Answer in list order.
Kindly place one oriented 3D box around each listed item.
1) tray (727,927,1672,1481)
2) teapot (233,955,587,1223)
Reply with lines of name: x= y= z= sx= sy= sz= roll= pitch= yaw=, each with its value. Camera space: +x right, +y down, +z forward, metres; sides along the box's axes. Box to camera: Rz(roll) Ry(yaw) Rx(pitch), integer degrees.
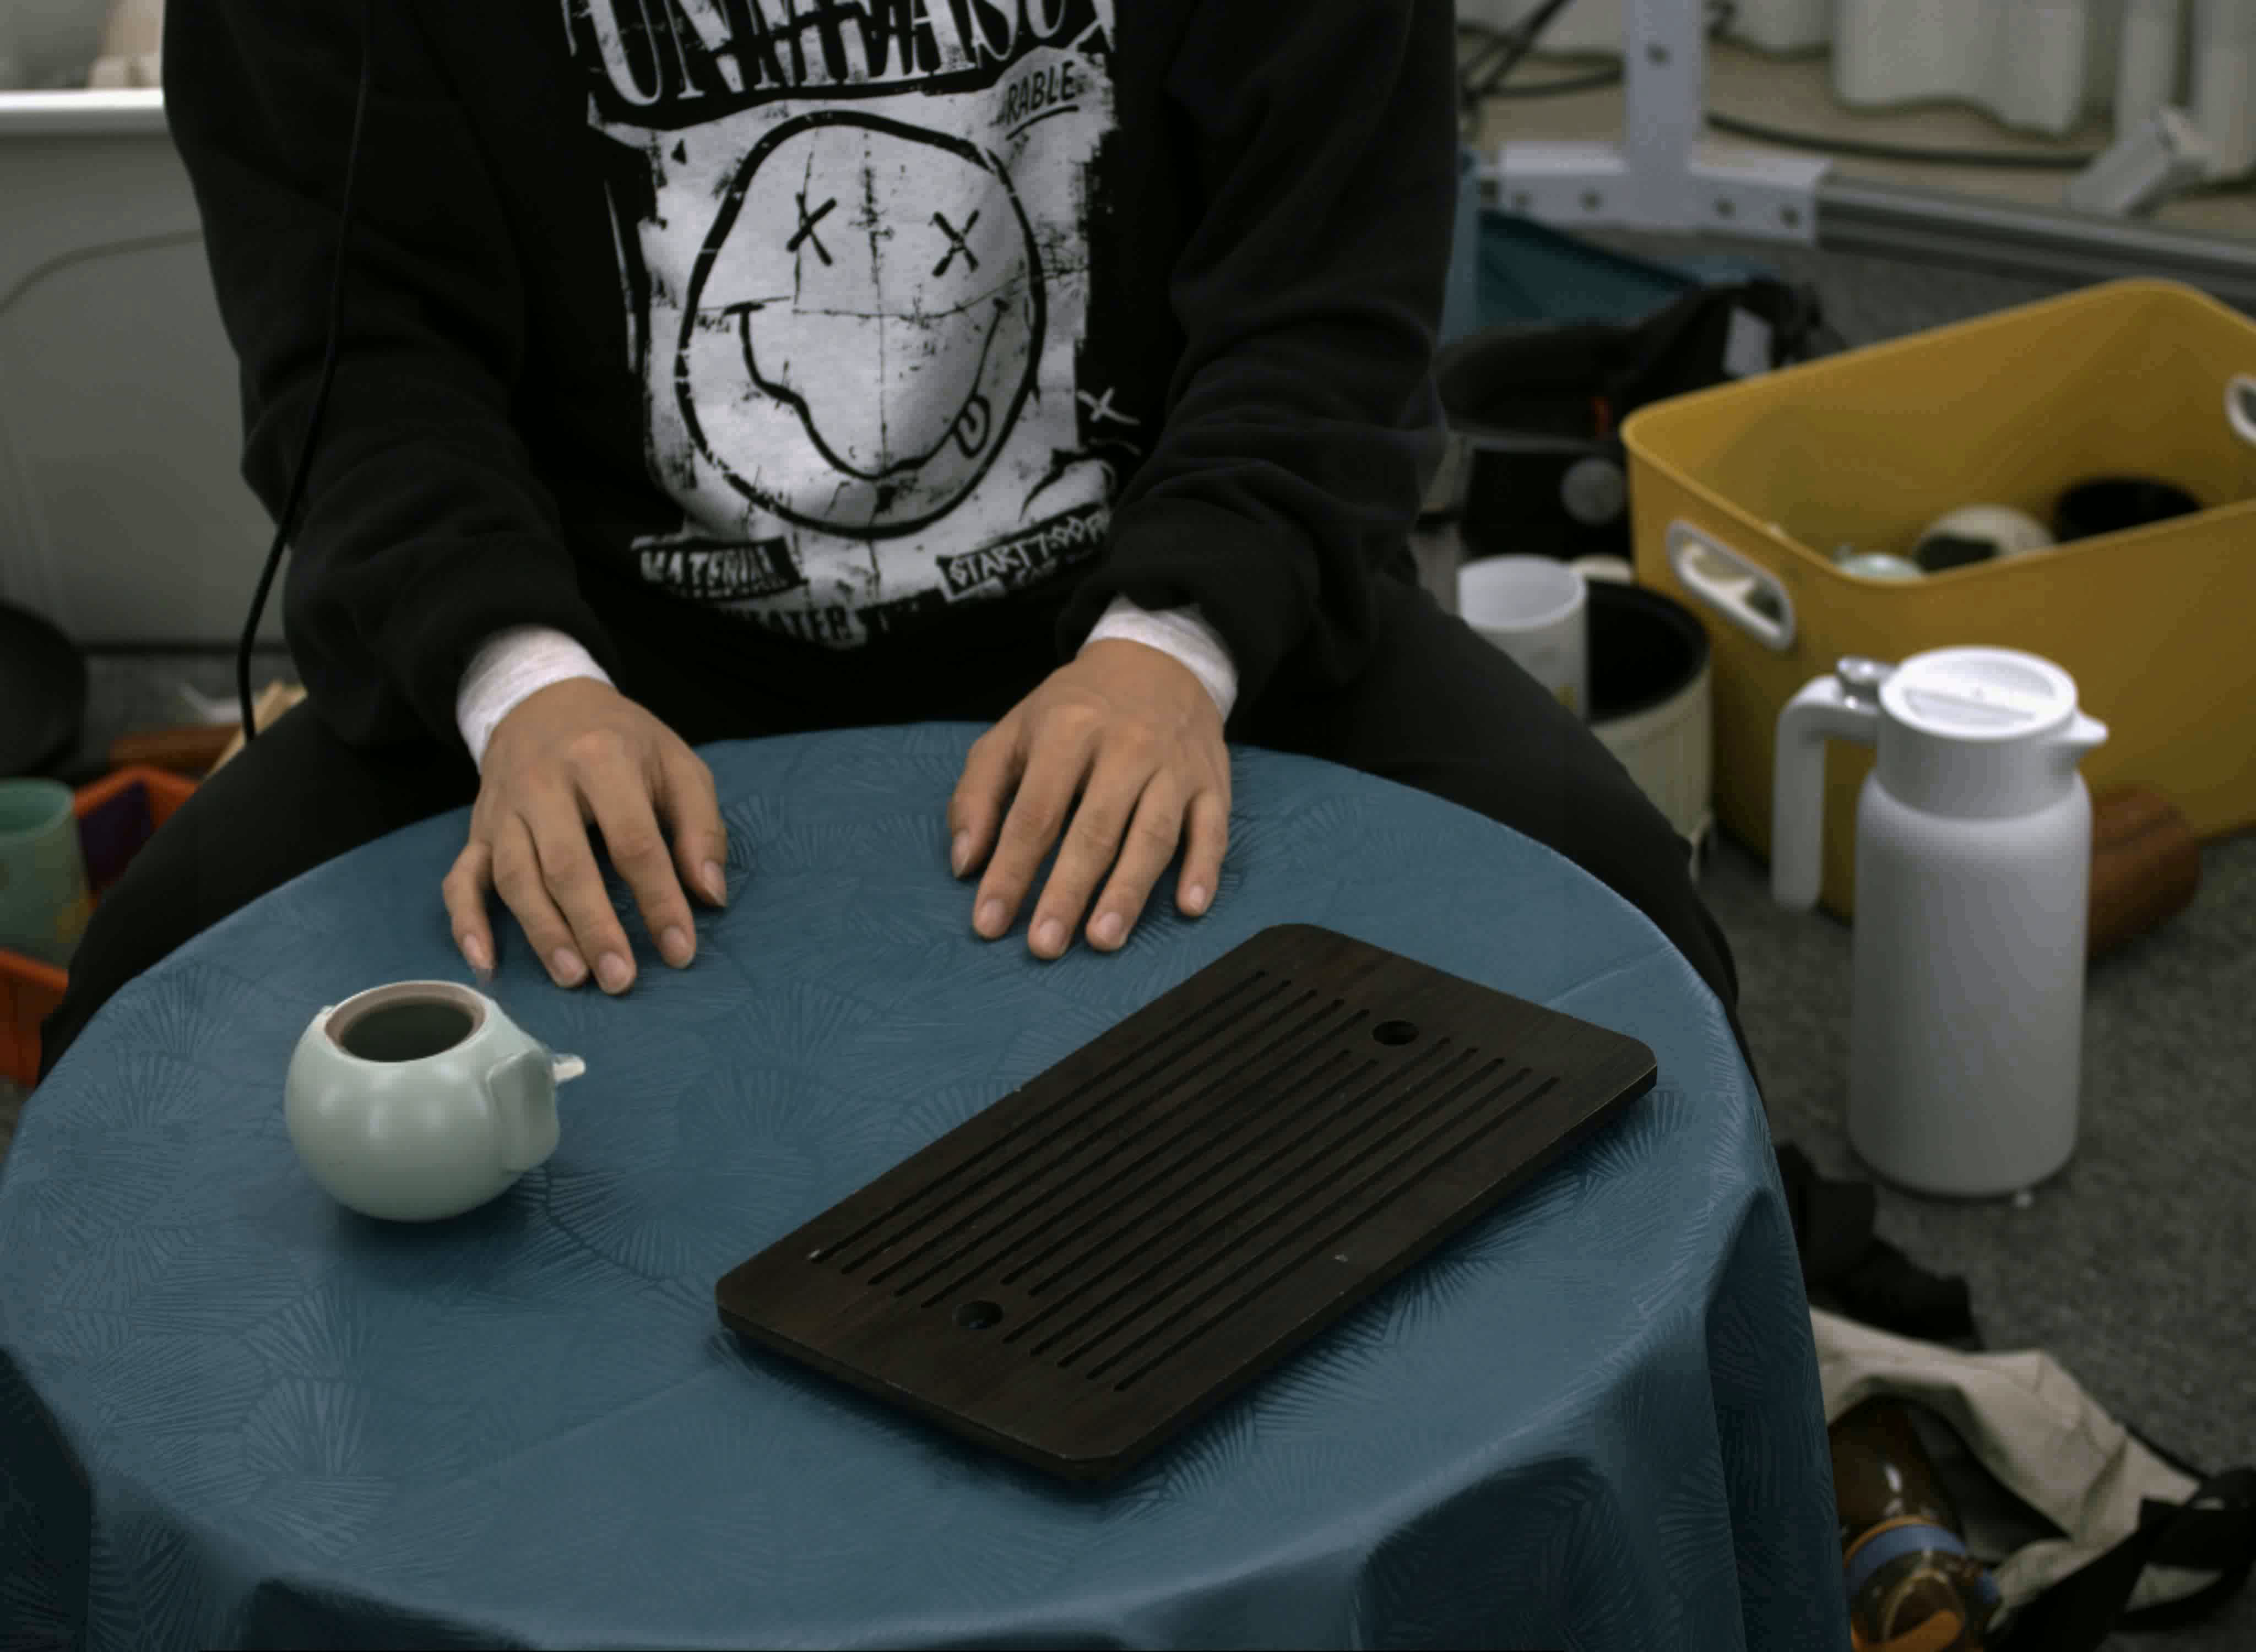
tray: x=0.028 y=0.120 z=1.839 sx=0.169 sy=0.018 sz=0.310 roll=18 pitch=34 yaw=36
teapot: x=-0.236 y=0.090 z=1.864 sx=0.143 sy=0.074 sz=0.090 roll=15 pitch=32 yaw=29
